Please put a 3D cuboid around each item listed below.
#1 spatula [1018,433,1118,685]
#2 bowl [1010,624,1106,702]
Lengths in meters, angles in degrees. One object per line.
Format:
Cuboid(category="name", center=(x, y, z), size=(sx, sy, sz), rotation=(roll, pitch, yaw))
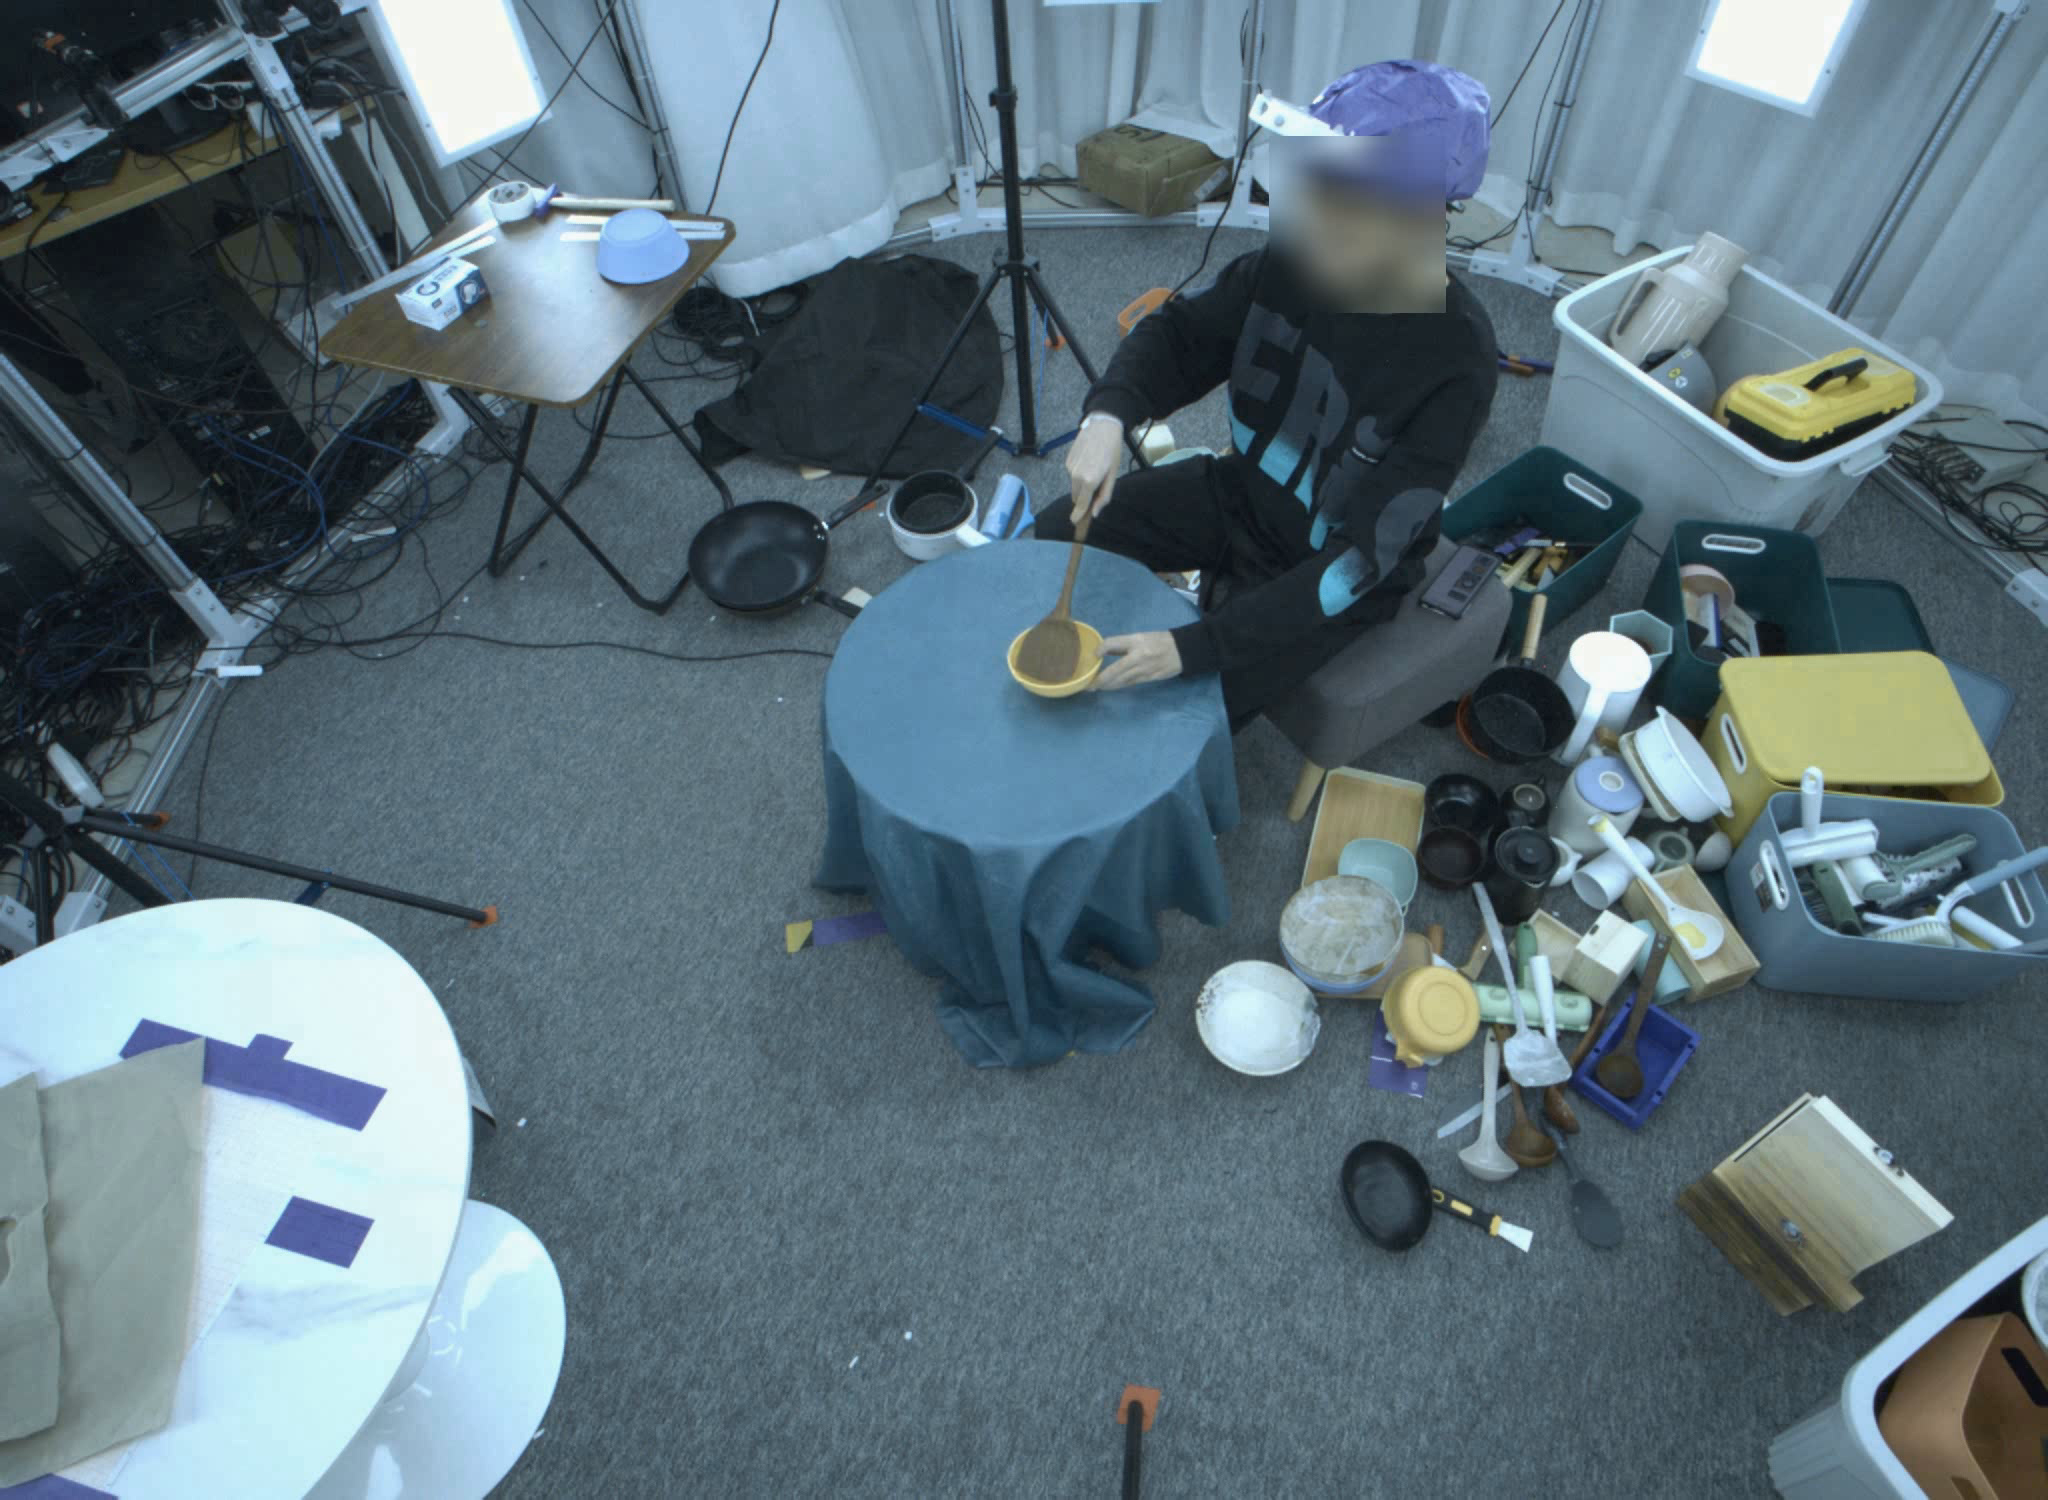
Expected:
Cuboid(category="spatula", center=(0.078, -0.284, 1.795), size=(0.094, 0.016, 0.386), rotation=(15, 92, 22))
Cuboid(category="bowl", center=(0.053, -0.119, 1.841), size=(0.145, 0.061, 0.144), rotation=(-2, 50, 4))
